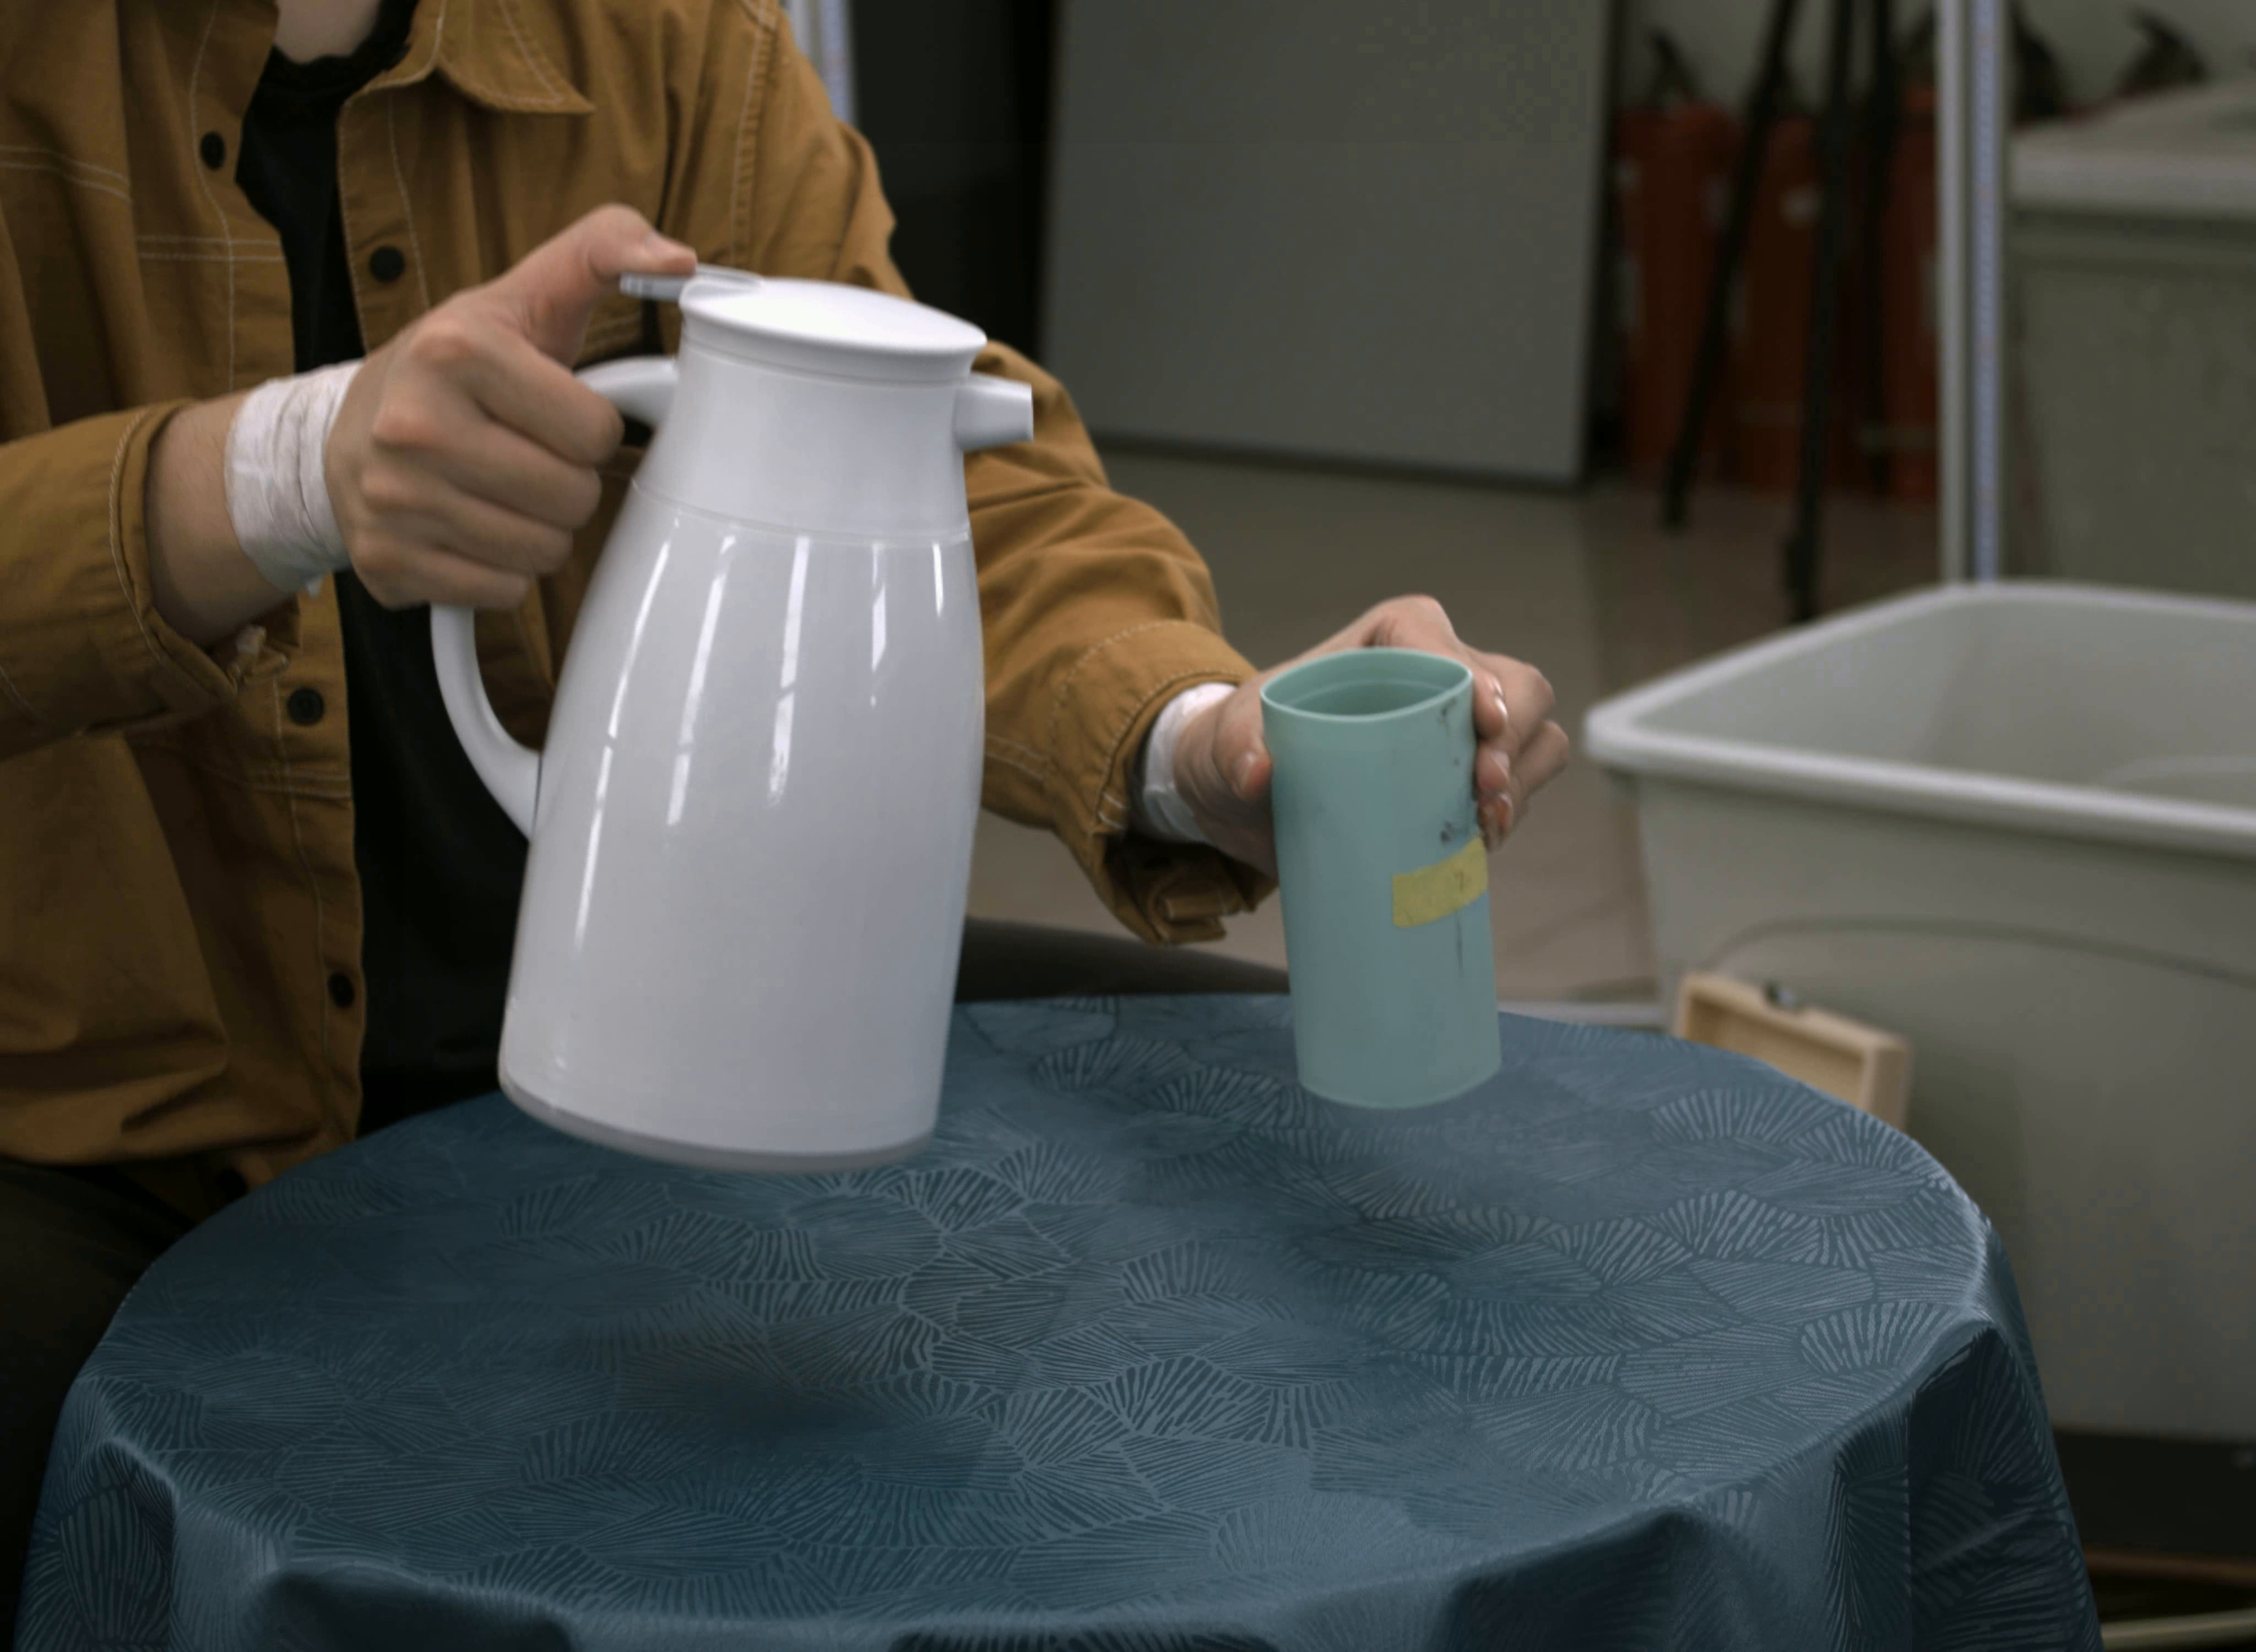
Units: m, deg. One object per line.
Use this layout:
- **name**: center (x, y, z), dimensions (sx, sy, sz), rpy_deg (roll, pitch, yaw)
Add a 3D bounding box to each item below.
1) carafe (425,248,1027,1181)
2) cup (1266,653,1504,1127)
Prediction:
- **carafe**: center (-0.122, -0.038, 1.566), dimensions (0.165, 0.251, 0.133), rpy_deg (7, 13, -2)
- **cup**: center (0.080, 0.019, 1.672), dimensions (0.066, 0.133, 0.067), rpy_deg (-5, 19, 1)
